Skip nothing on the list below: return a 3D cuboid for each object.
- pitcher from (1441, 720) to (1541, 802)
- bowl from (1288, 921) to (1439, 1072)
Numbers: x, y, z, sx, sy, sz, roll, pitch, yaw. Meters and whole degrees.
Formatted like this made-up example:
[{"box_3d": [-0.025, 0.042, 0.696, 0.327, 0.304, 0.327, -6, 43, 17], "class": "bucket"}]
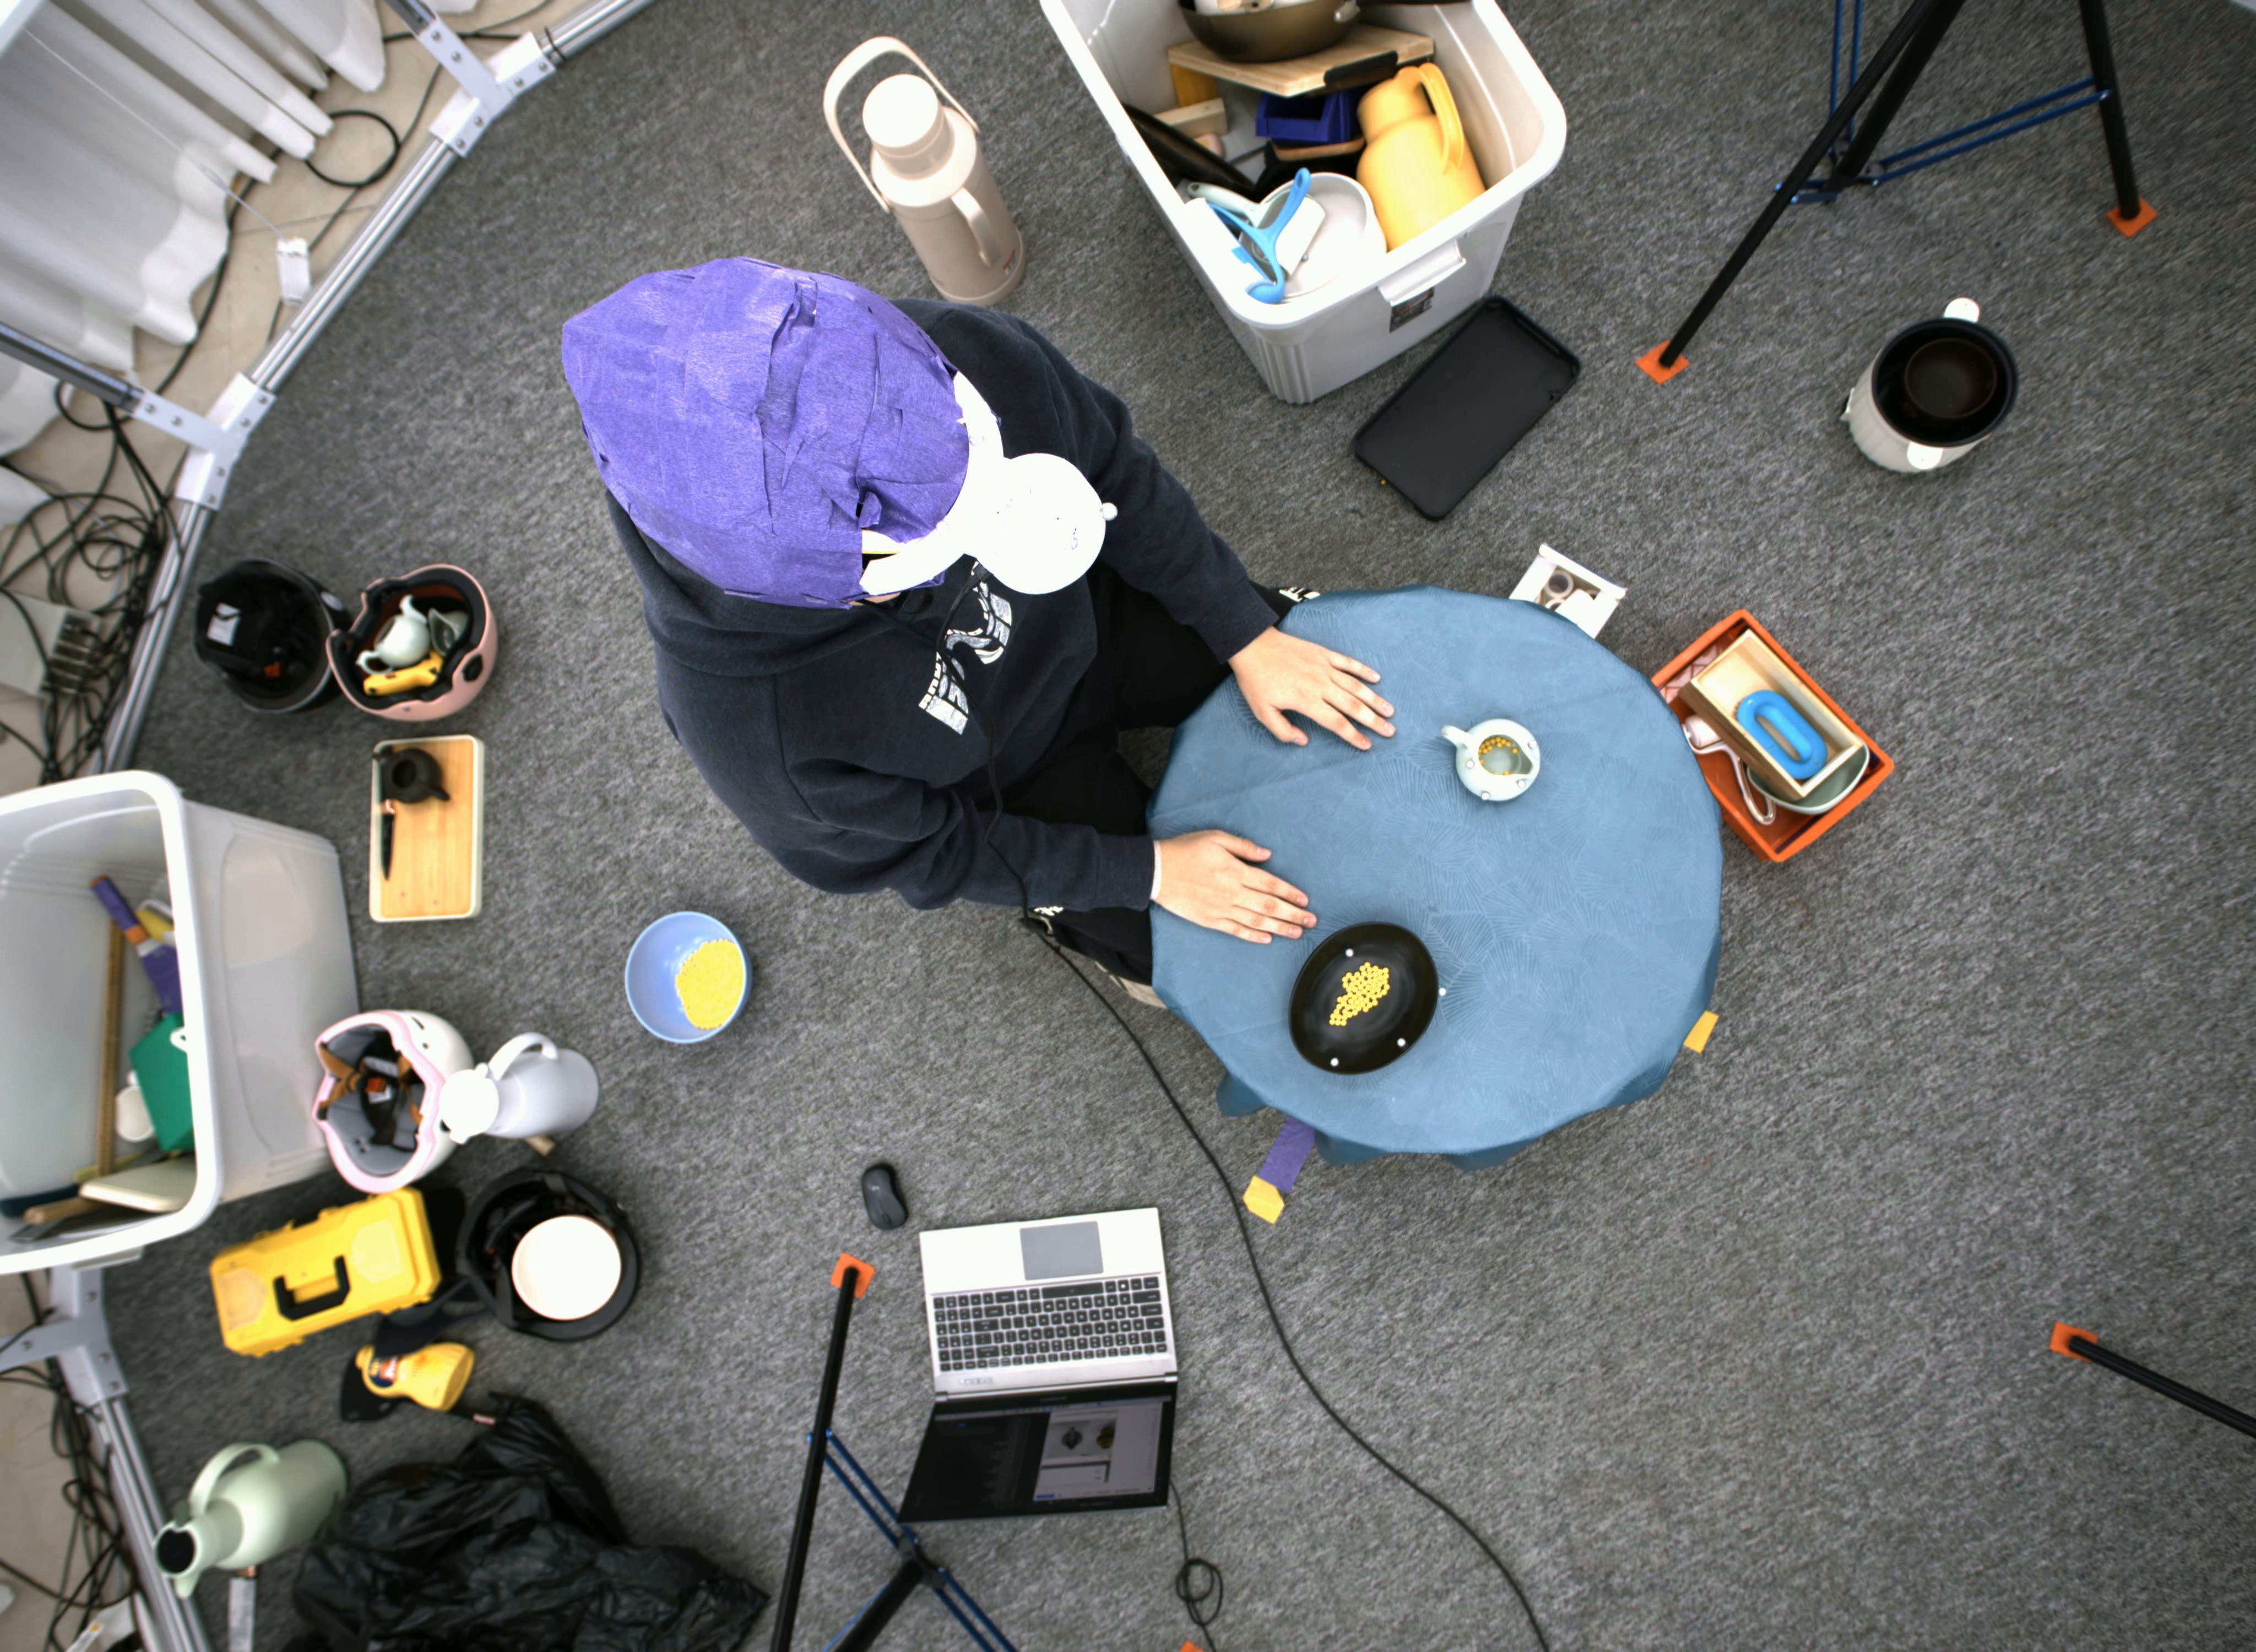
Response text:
[{"box_3d": [0.374, -0.076, 1.421, 0.108, 0.060, 0.086, 25, 90, 14], "class": "pitcher"}, {"box_3d": [0.243, 0.176, 1.428, 0.137, 0.067, 0.171, 40, 95, 12], "class": "bowl"}]
